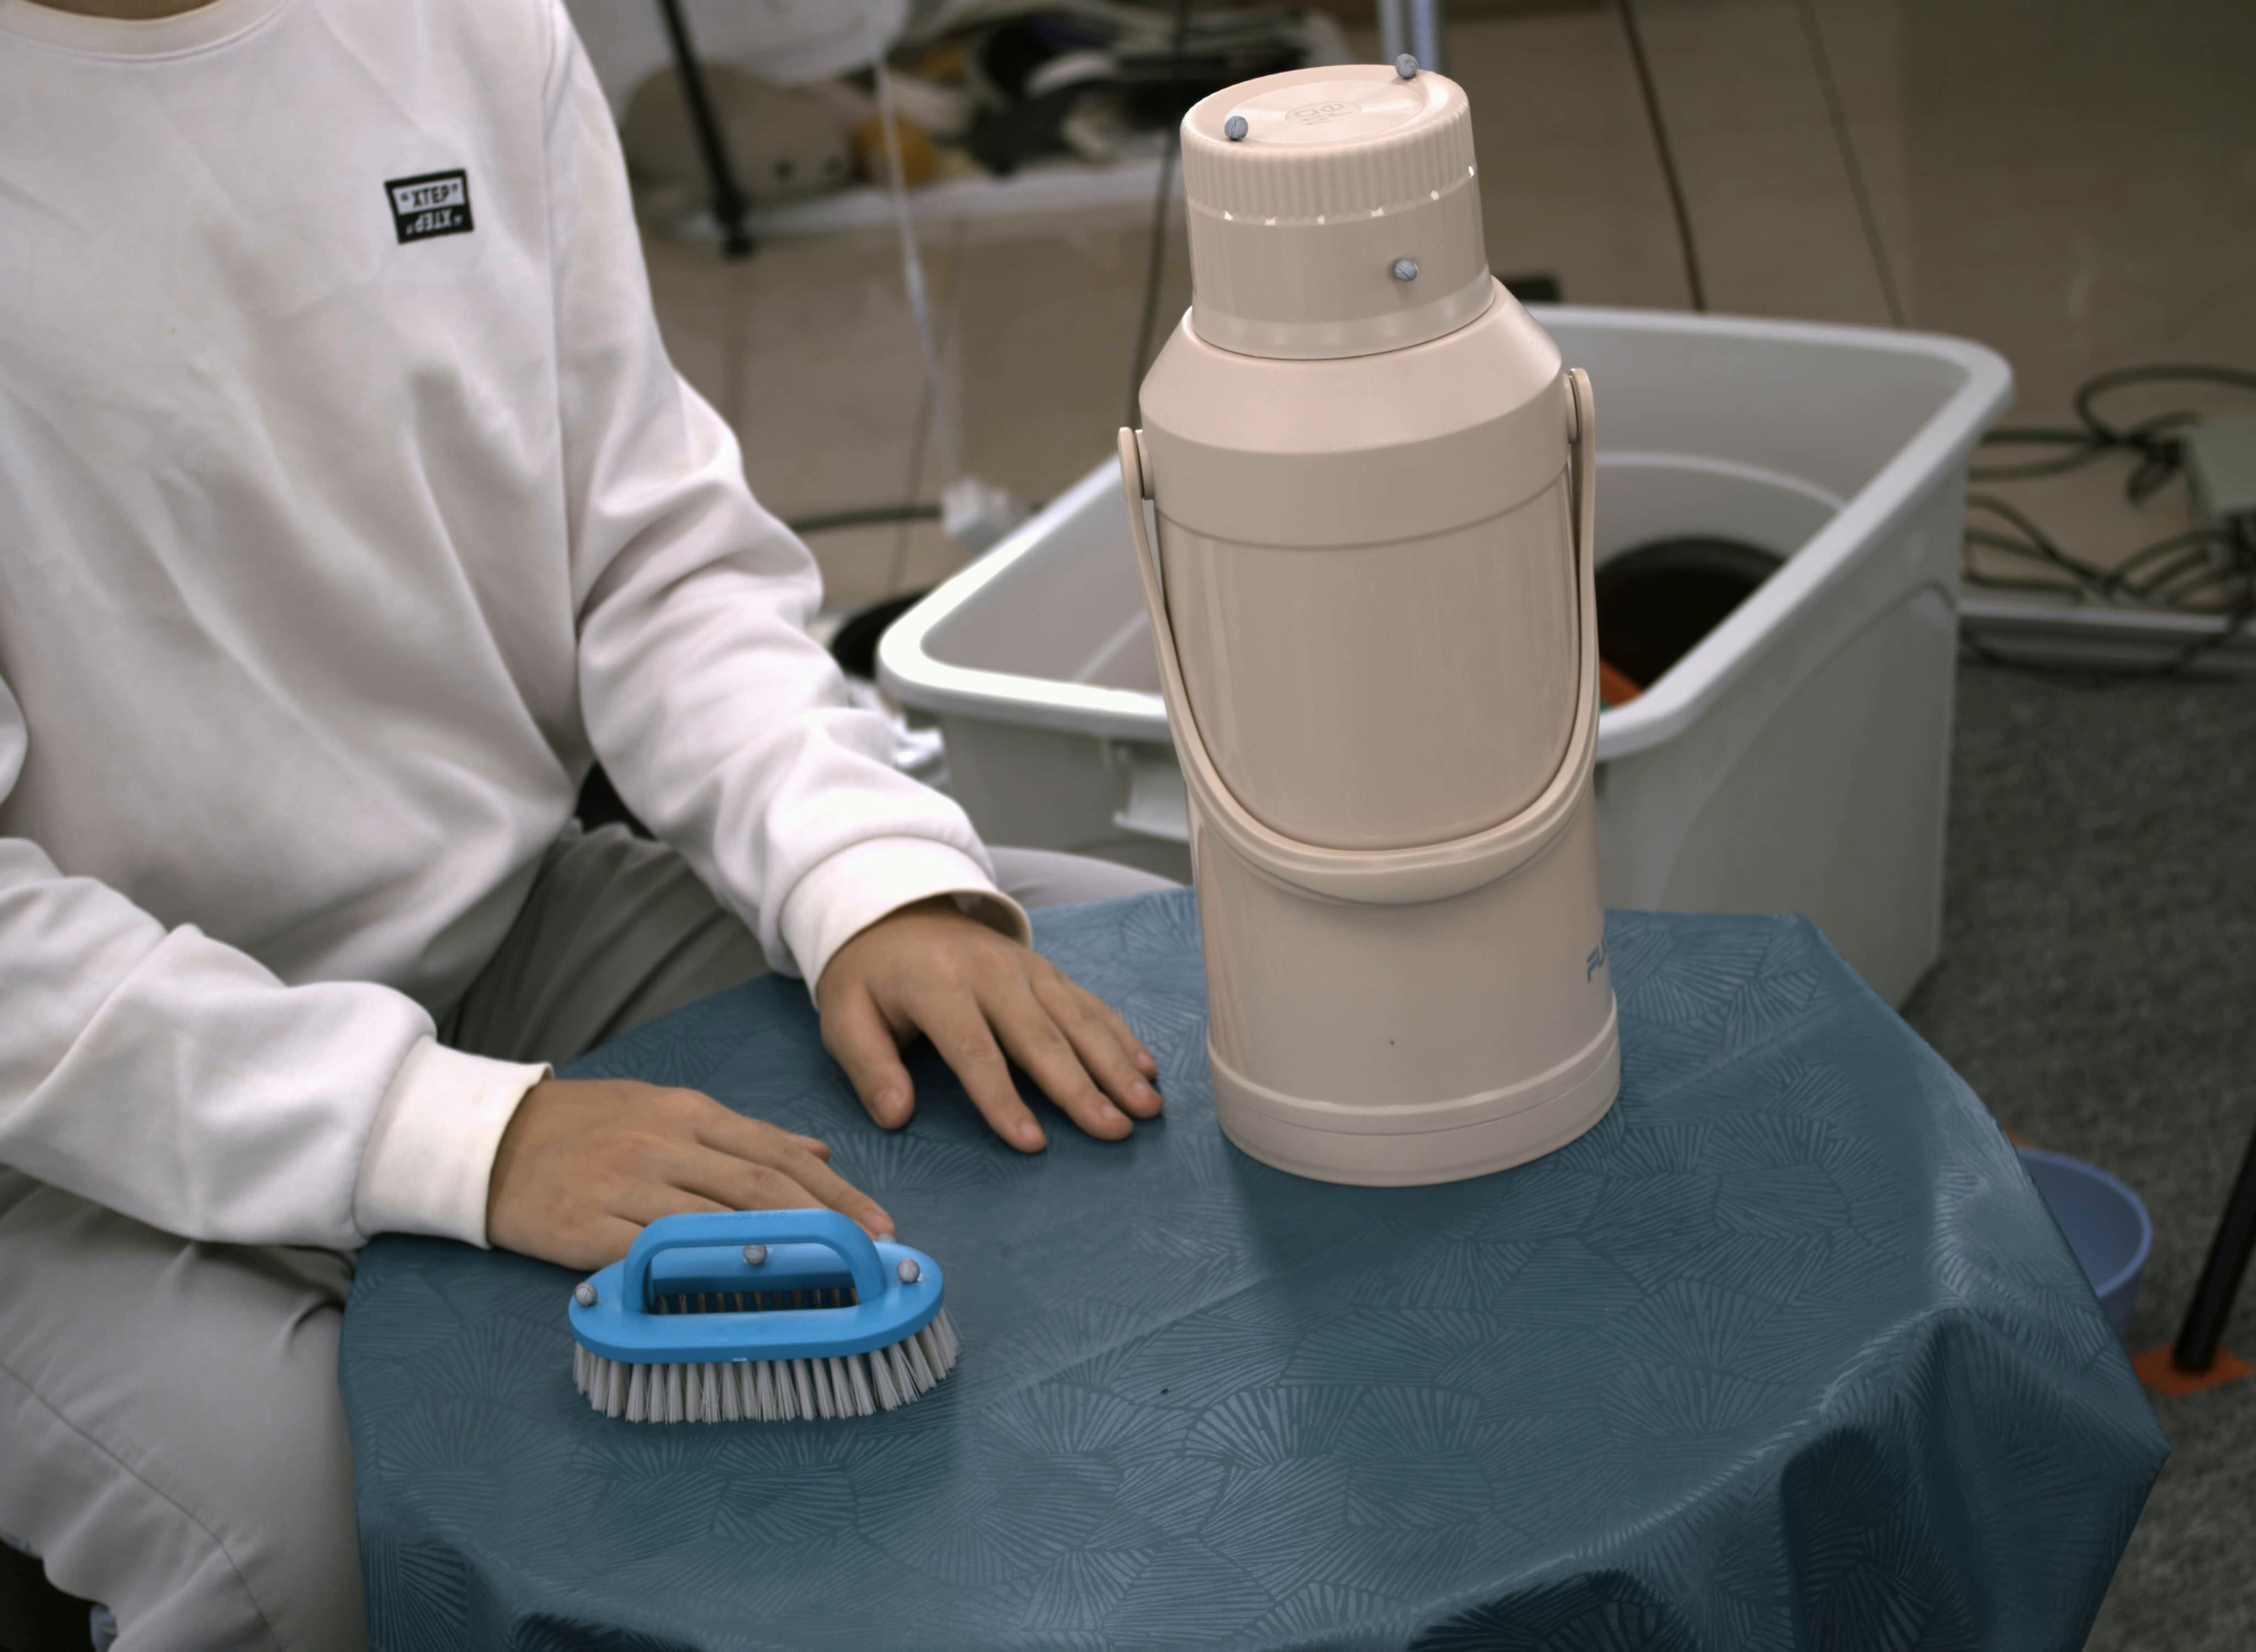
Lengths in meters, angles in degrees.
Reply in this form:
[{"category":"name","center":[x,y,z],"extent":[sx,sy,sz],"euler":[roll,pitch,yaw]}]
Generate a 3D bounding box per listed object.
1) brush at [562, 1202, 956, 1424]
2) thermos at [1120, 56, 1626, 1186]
[{"category":"brush","center":[-0.136,0.167,2.041],"extent":[0.141,0.065,0.083],"euler":[-3,30,10]},{"category":"thermos","center":[0.092,-0.083,2.123],"extent":[0.175,0.413,0.204],"euler":[-9,25,-2]}]
